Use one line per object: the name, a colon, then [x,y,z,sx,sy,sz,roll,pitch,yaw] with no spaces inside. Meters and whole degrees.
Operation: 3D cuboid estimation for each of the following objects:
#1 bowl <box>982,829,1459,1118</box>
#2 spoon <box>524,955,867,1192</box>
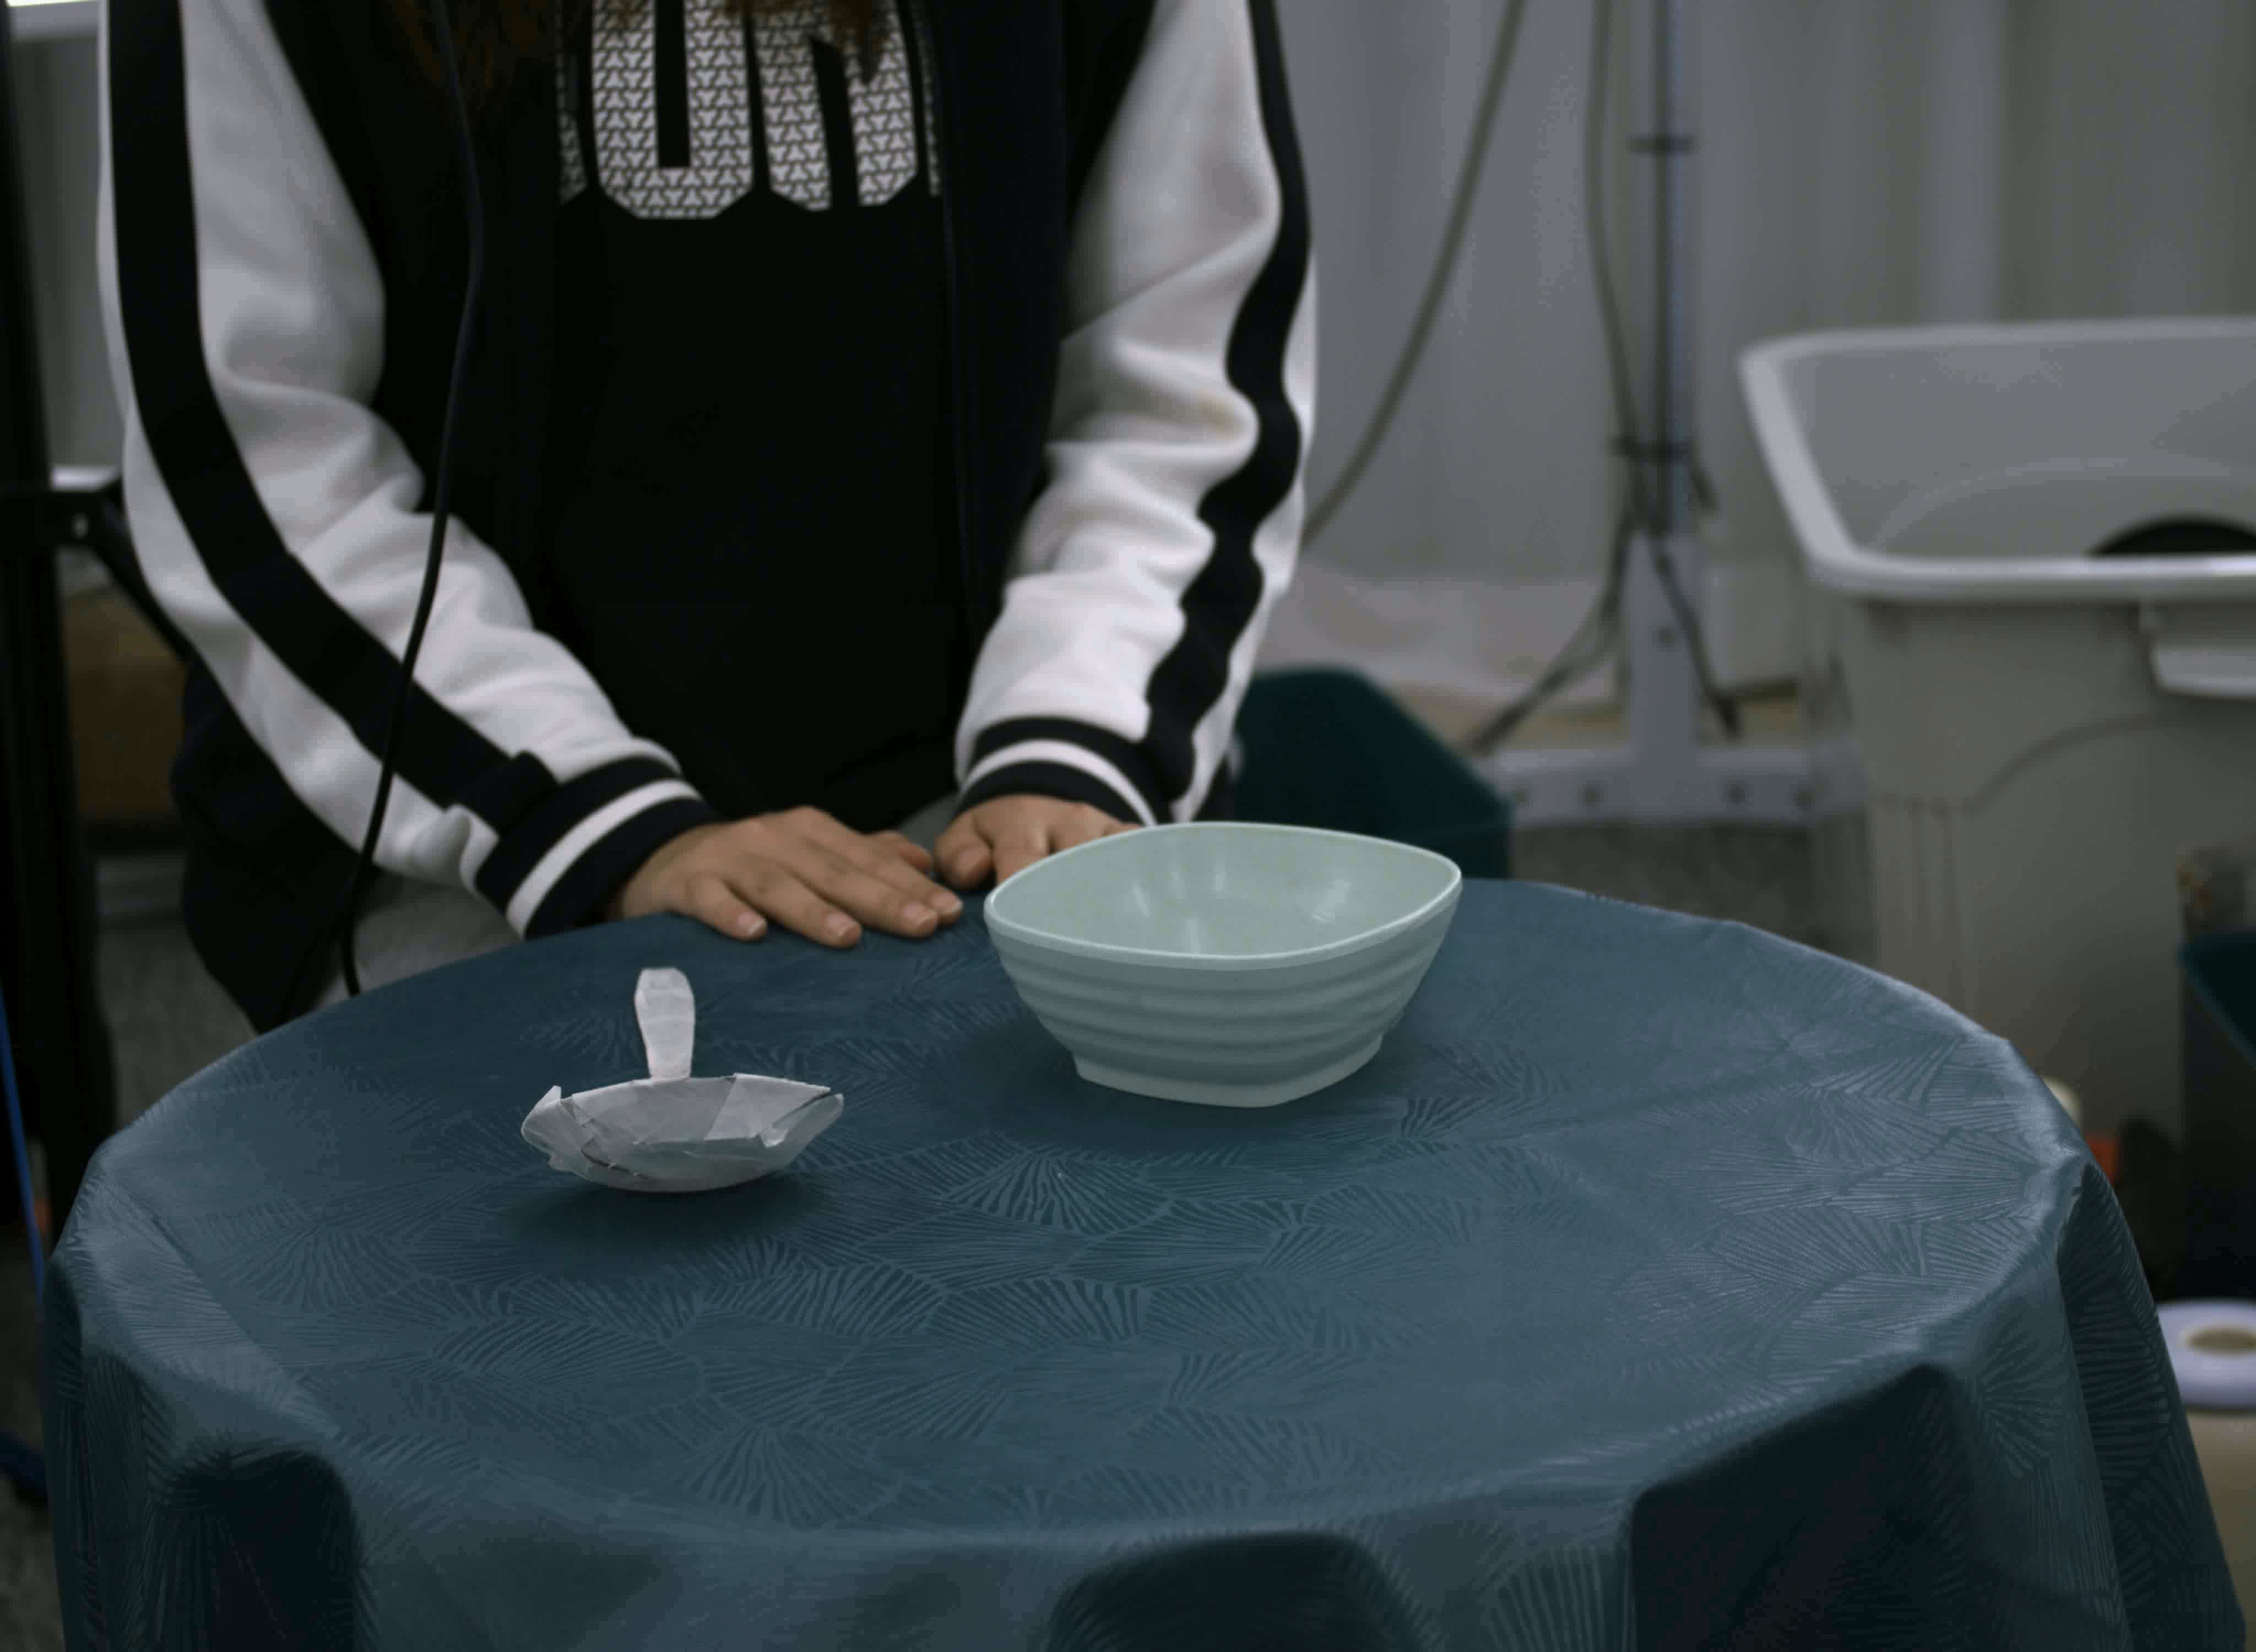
bowl: [0.030,0.049,1.665,0.150,0.058,0.152,-2,16,-1]
spoon: [-0.132,0.059,1.649,0.100,0.059,0.279,2,16,-4]
